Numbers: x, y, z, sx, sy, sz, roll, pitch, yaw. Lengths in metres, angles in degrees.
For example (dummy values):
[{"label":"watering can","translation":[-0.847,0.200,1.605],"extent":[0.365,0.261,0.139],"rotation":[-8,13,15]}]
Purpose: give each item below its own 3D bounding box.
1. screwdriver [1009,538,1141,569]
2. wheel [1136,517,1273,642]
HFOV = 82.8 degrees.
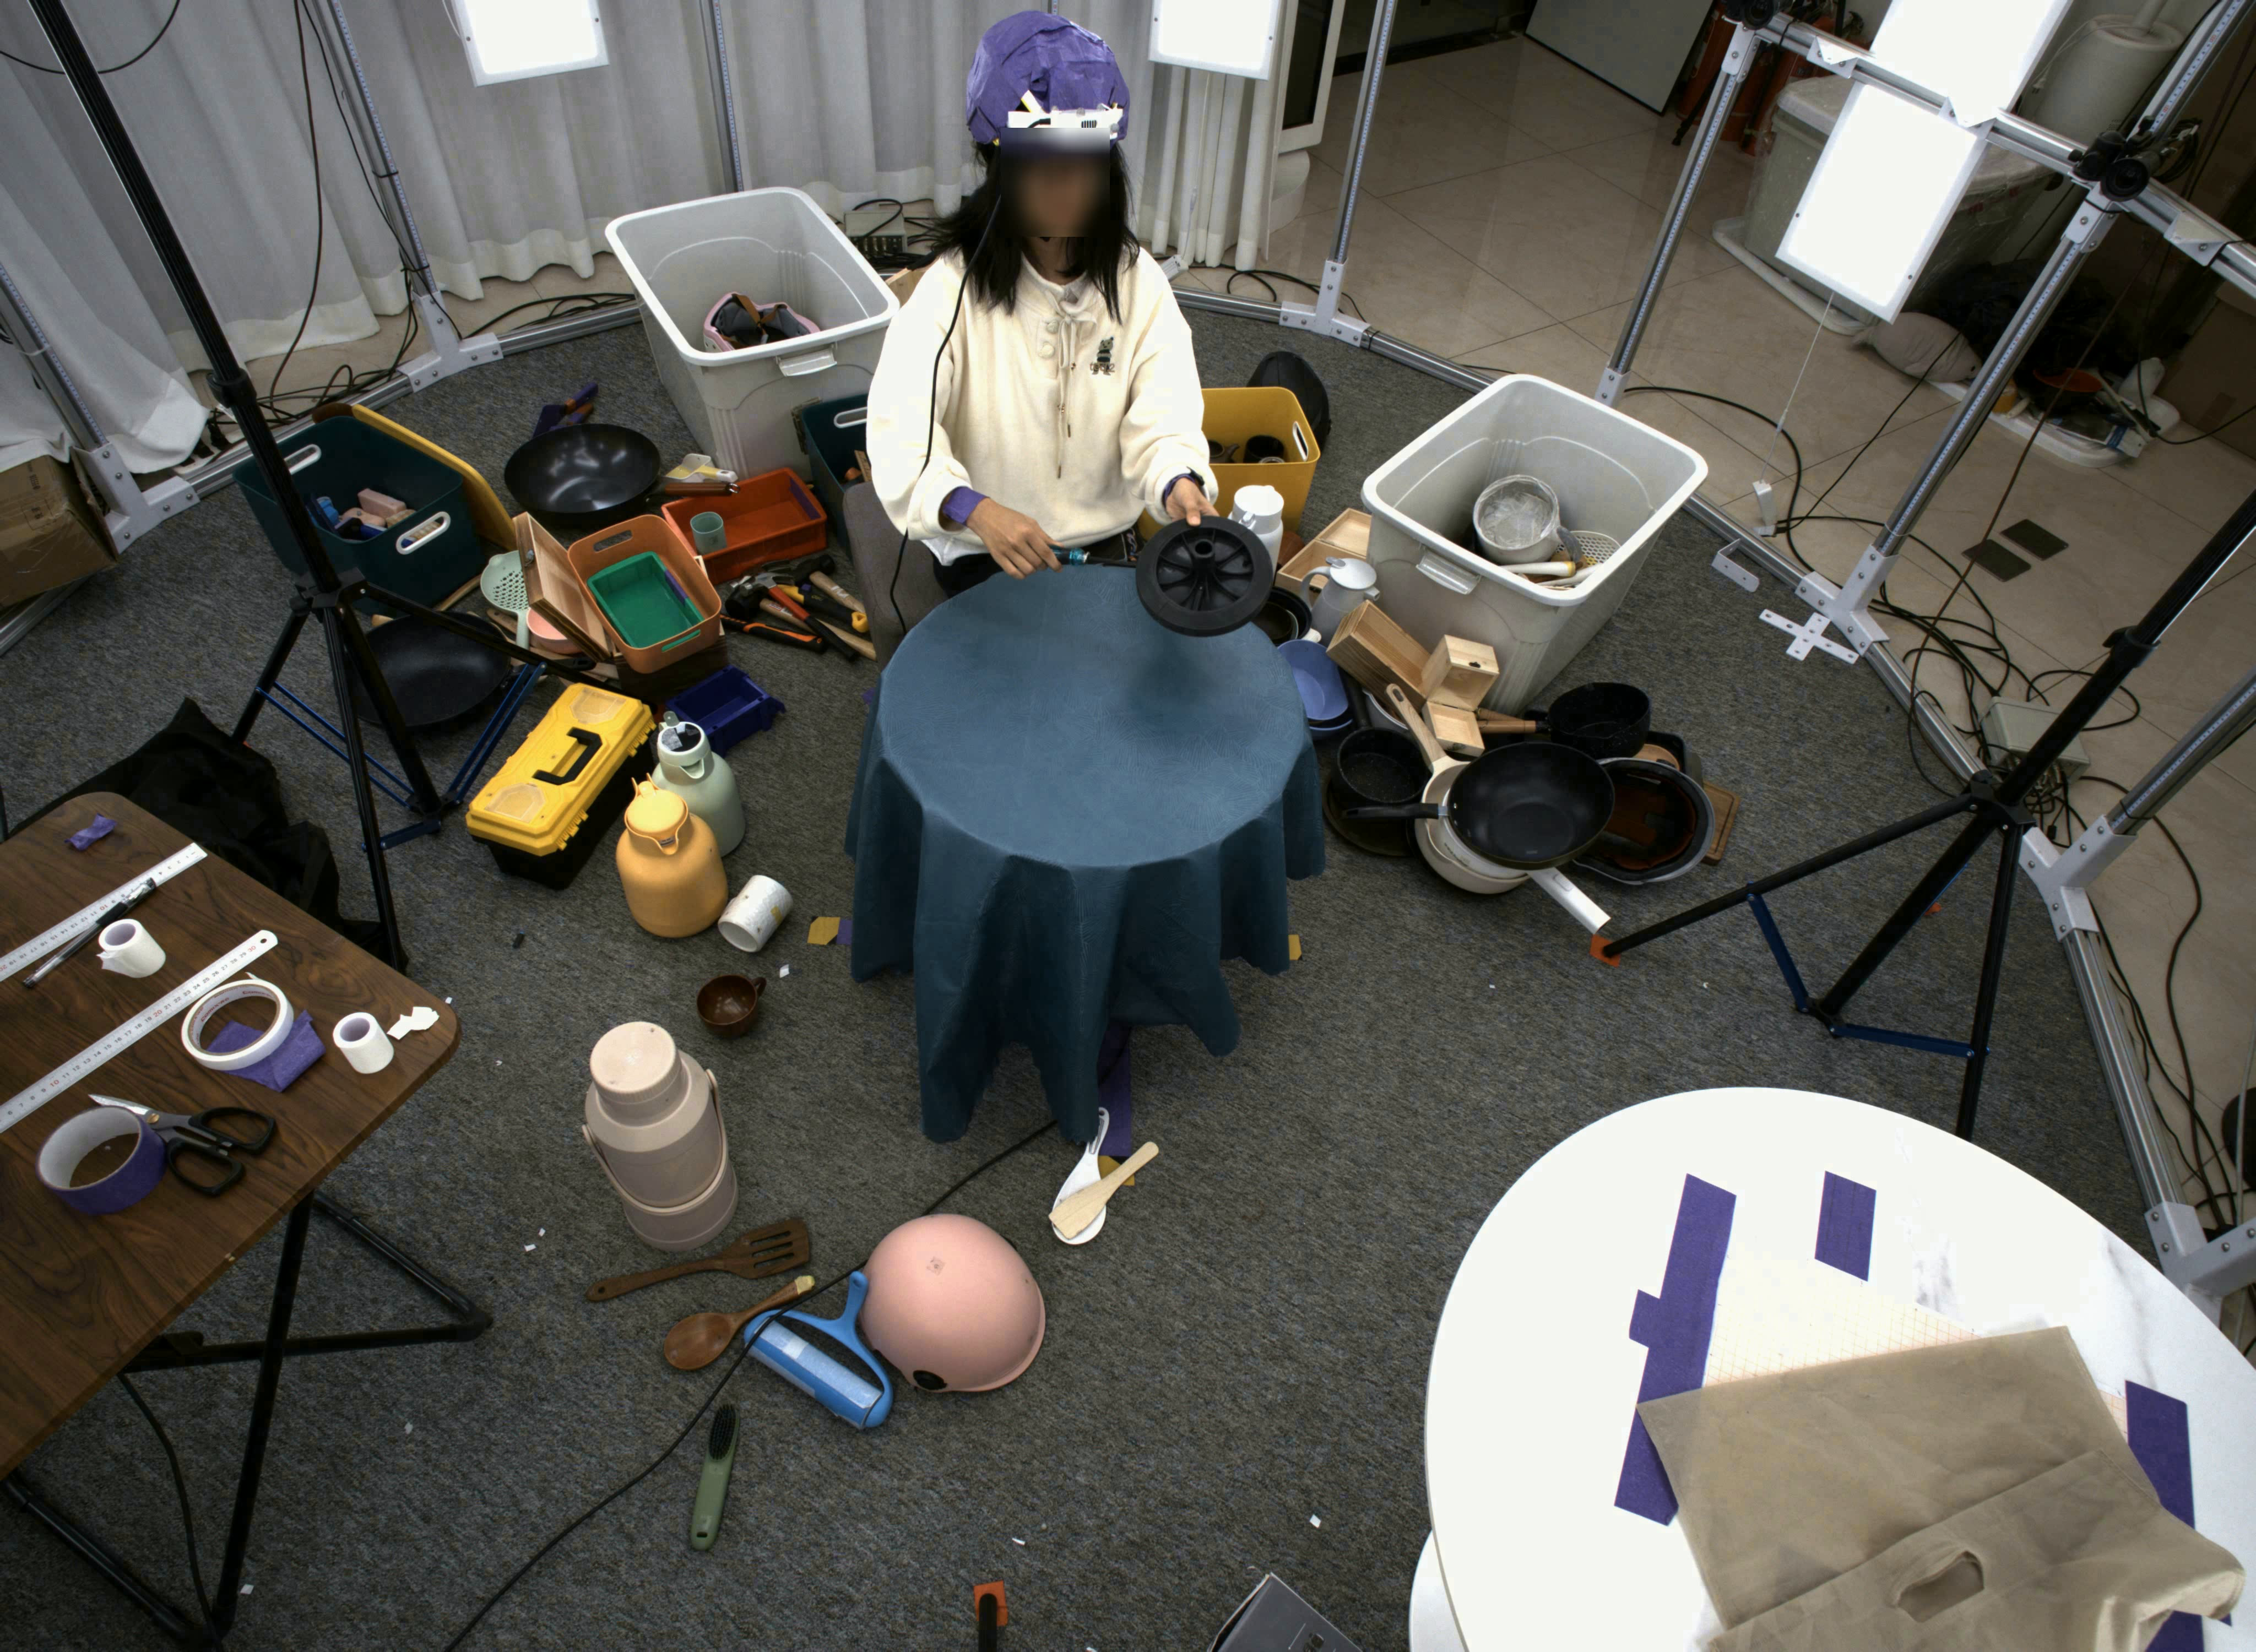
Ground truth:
[{"label":"screwdriver","translation":[-0.073,-0.372,1.786],"extent":[0.190,0.033,0.034],"rotation":[11,49,13]},{"label":"wheel","translation":[0.104,-0.348,1.749],"extent":[0.187,0.077,0.193],"rotation":[-10,67,0]}]
